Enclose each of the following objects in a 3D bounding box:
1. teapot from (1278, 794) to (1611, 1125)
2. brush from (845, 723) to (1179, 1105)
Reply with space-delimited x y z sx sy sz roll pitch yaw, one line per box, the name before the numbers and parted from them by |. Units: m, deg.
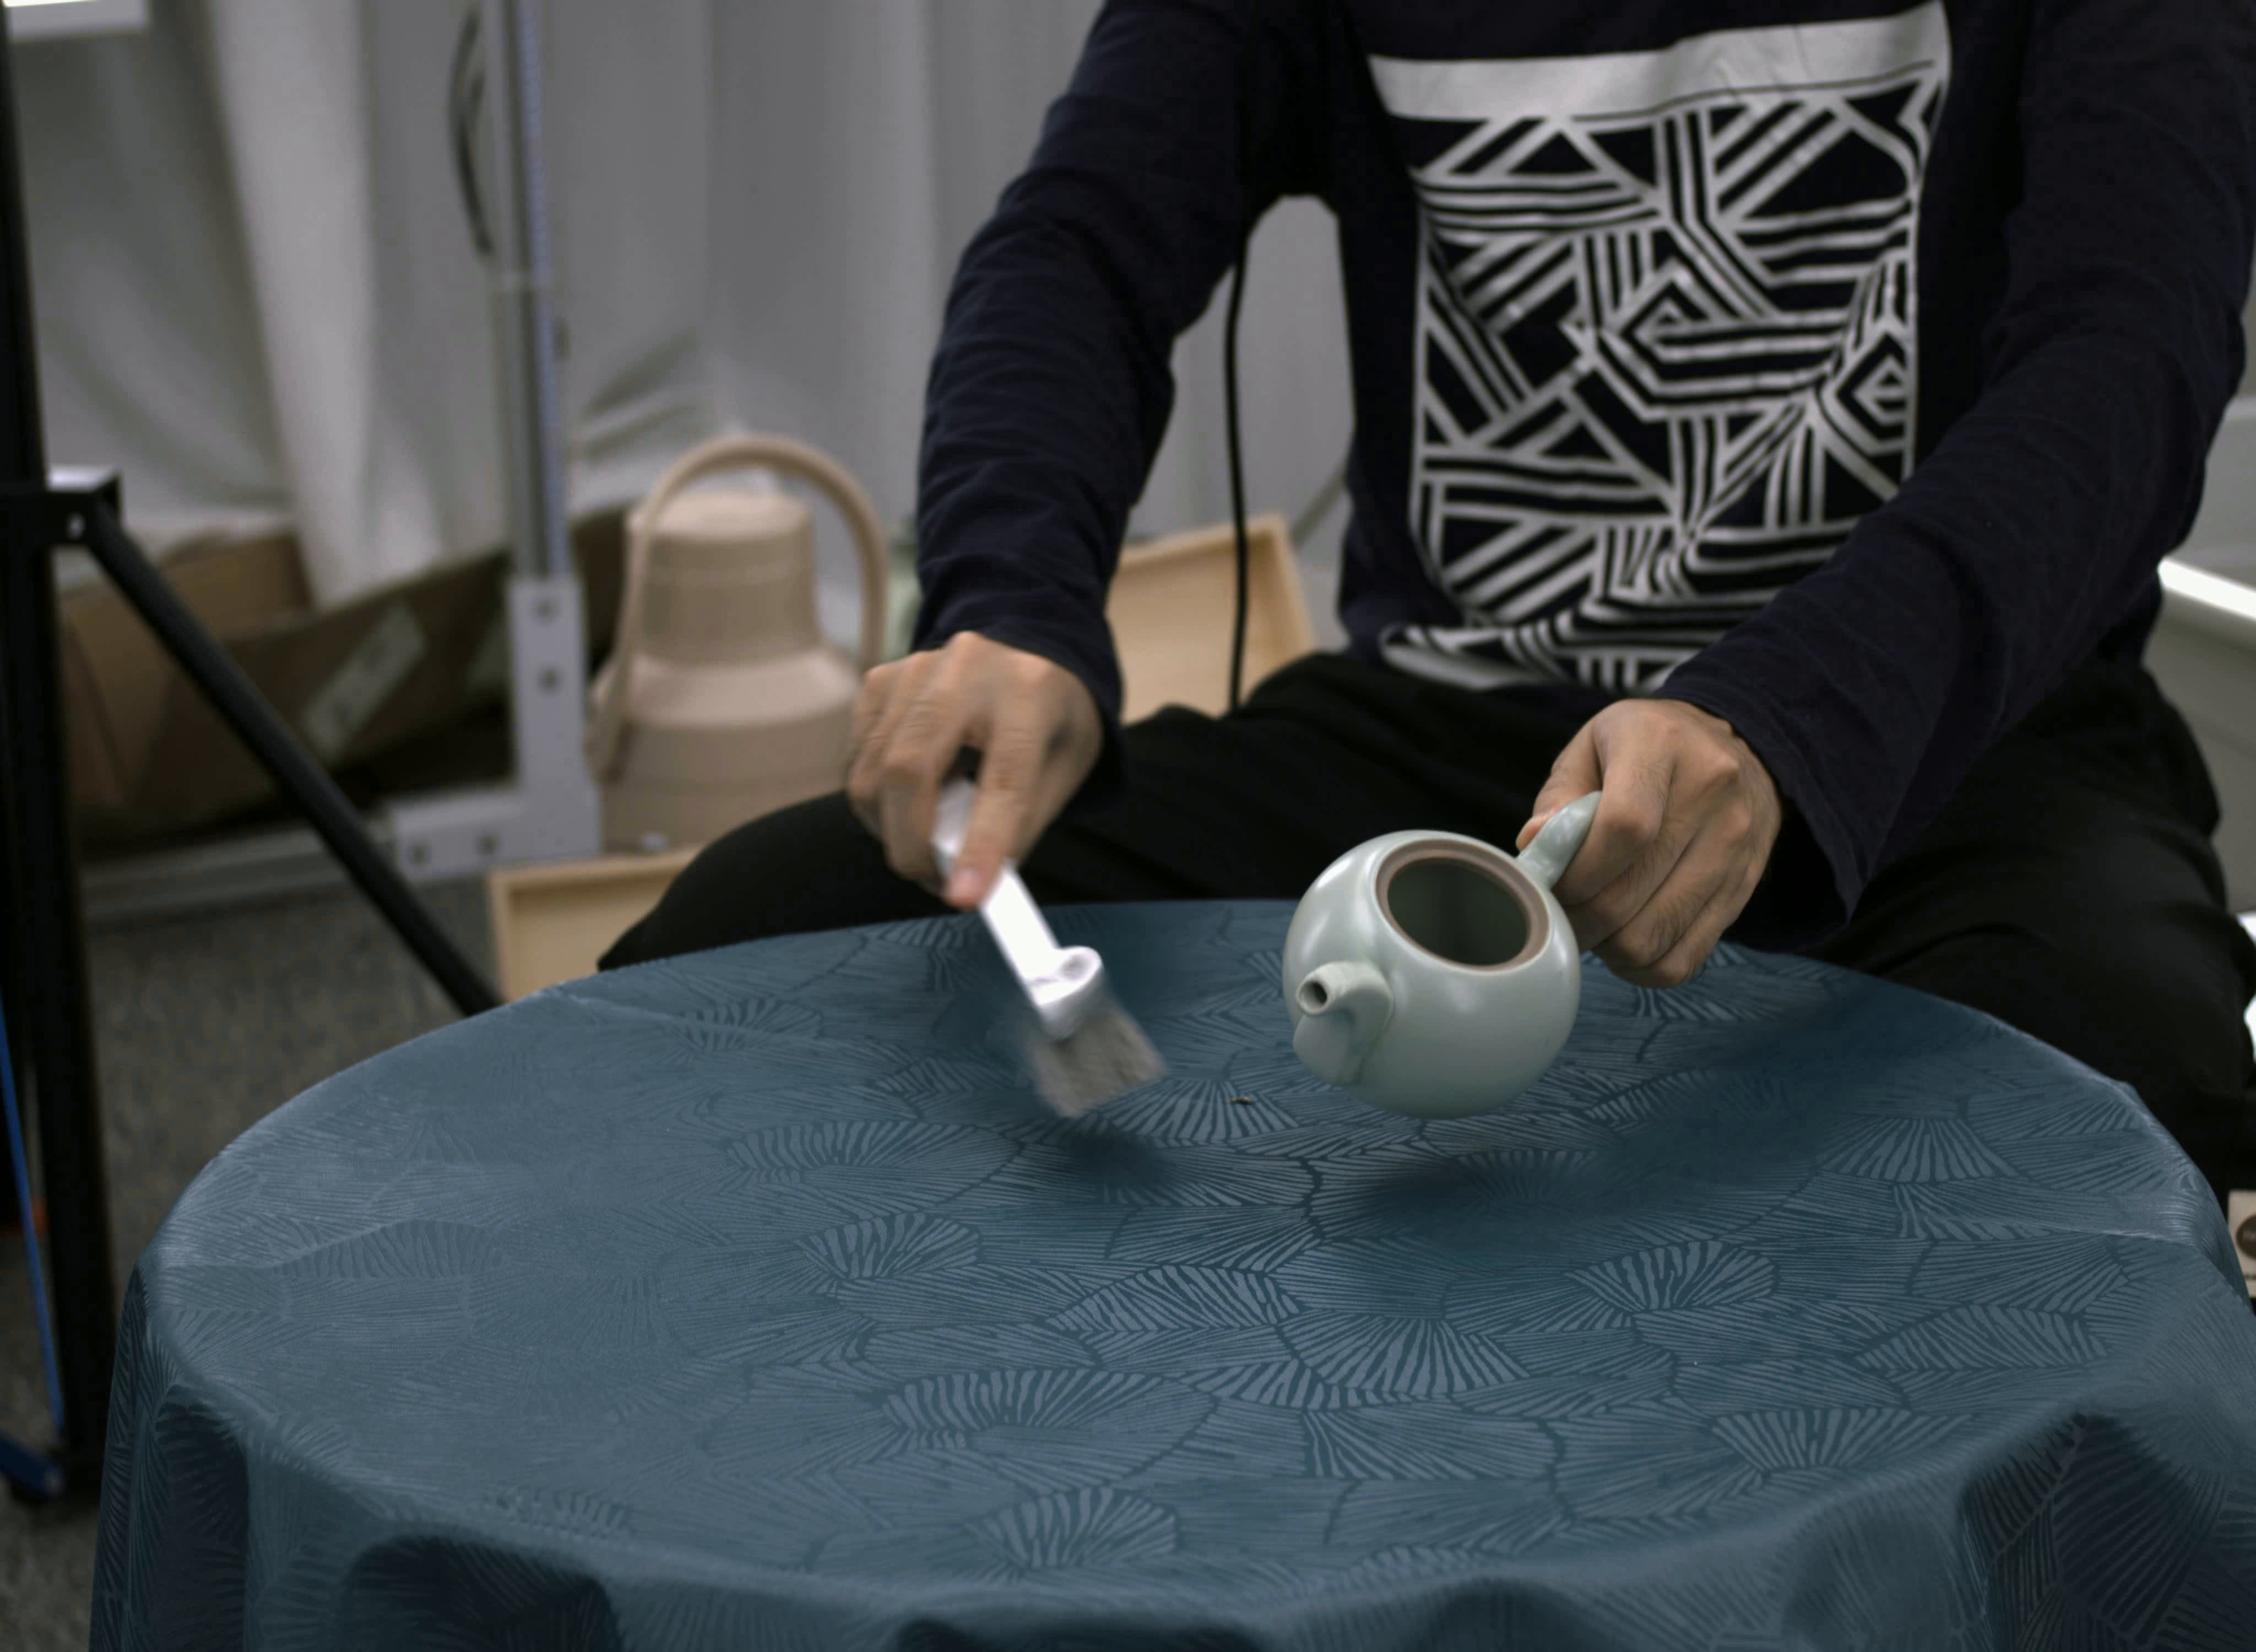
teapot | 0.088 0.044 1.552 0.141 0.075 0.090 -29 59 -37
brush | -0.038 0.027 1.667 0.034 0.049 0.248 -29 27 -8
